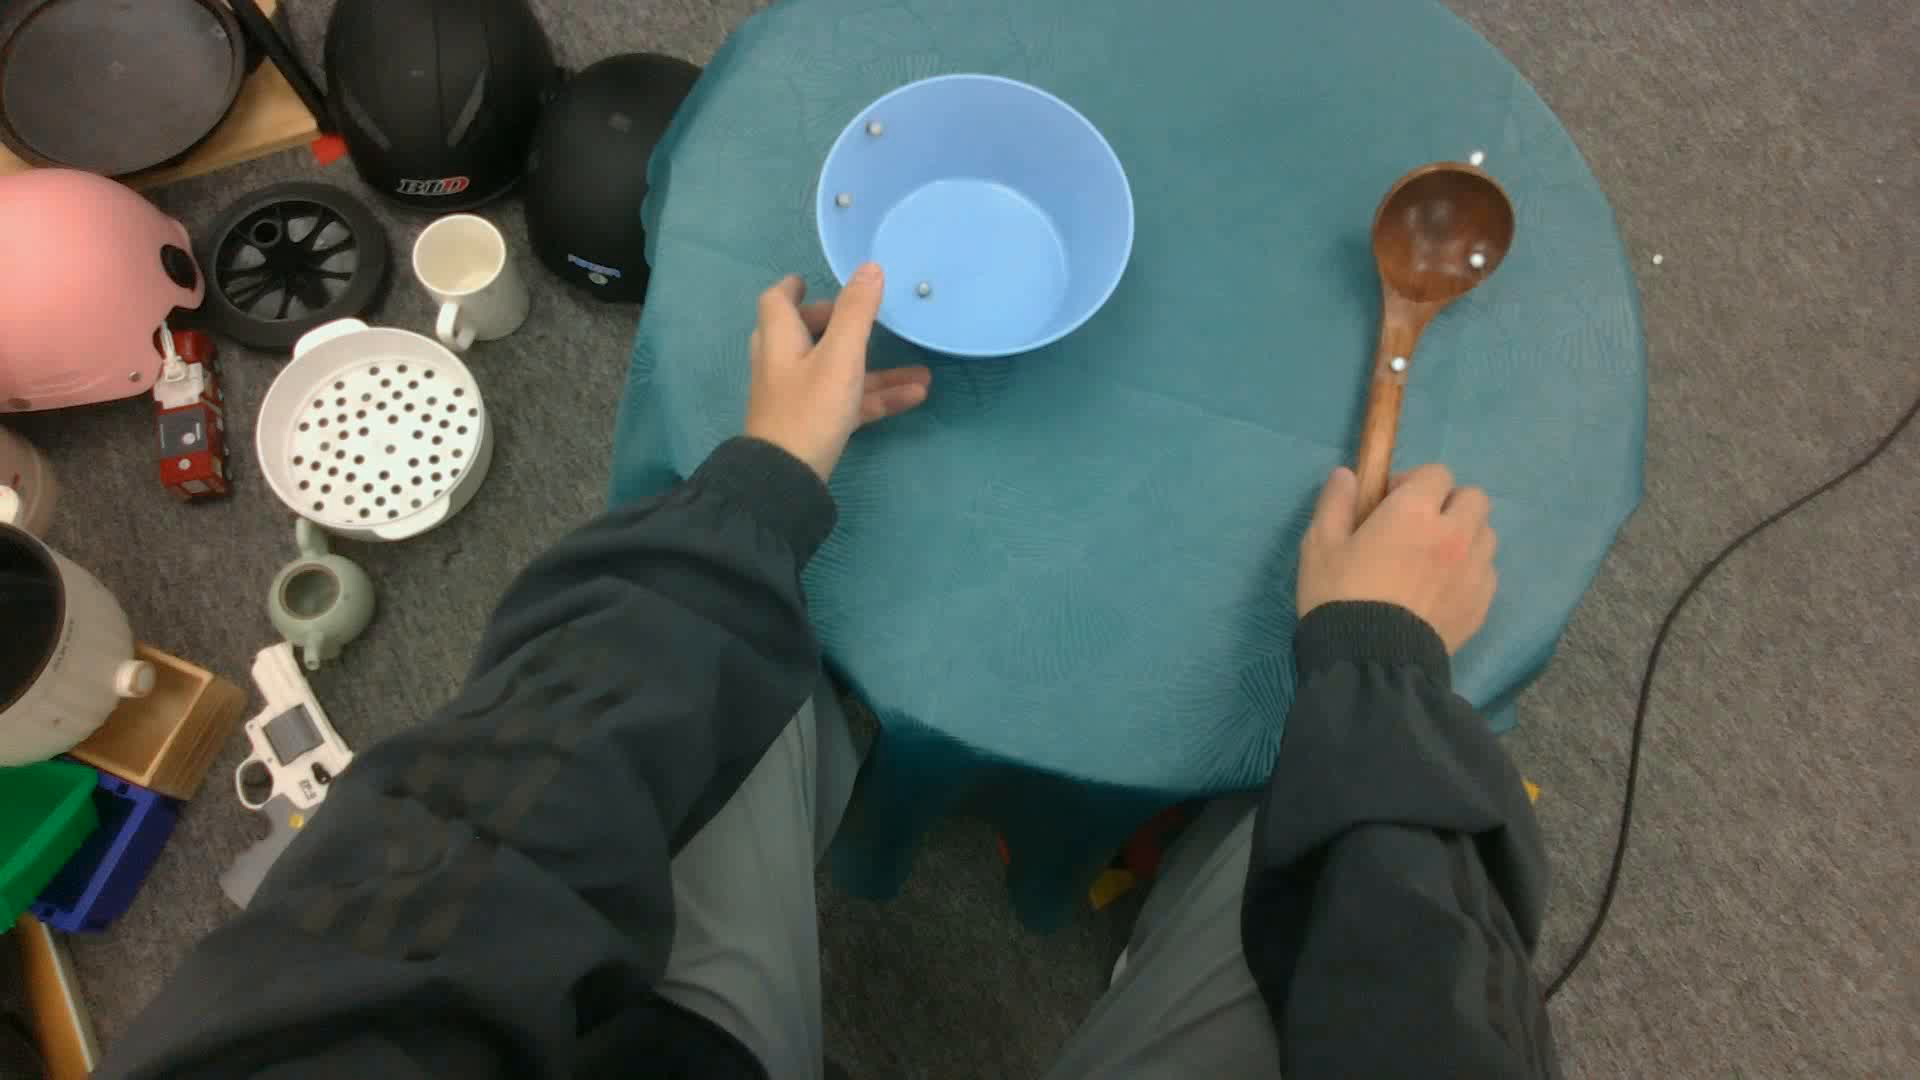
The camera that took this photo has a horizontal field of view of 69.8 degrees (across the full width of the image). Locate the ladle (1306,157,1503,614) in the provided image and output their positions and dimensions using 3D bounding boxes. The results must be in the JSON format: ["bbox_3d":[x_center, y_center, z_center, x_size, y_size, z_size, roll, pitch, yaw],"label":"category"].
[{"bbox_3d":[0.250,-0.093,0.787,0.082,0.076,0.275,17,70,3],"label":"ladle"}]

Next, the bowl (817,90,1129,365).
[{"bbox_3d":[0.007,-0.169,0.803,0.176,0.070,0.176,1,71,-2],"label":"bowl"}]
